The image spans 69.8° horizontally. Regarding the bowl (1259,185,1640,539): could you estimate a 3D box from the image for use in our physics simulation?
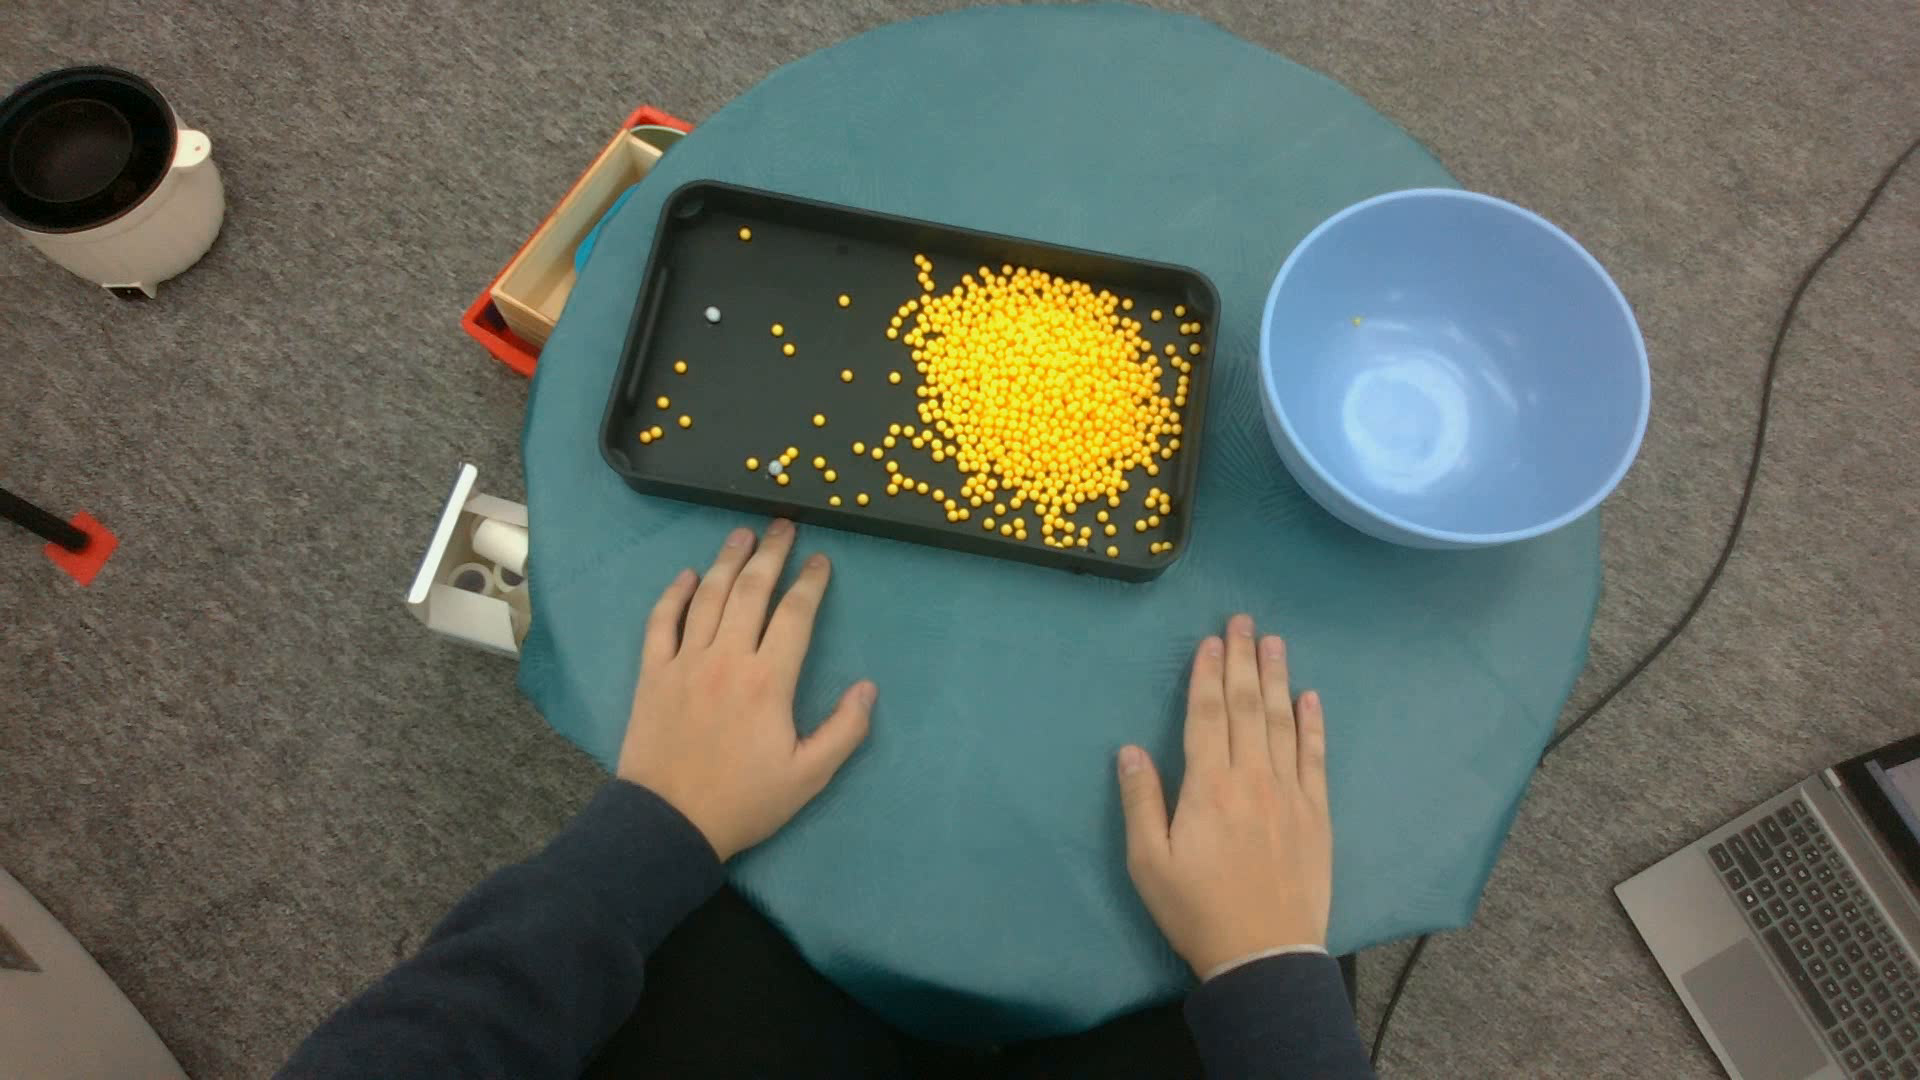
[{"bbox_3d":[0.250,-0.082,0.748,0.196,0.095,0.197,1,71,-2],"label":"bowl"}]

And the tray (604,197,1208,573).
[{"bbox_3d":[-0.026,-0.087,0.777,0.318,0.037,0.185,8,72,0],"label":"tray"}]
